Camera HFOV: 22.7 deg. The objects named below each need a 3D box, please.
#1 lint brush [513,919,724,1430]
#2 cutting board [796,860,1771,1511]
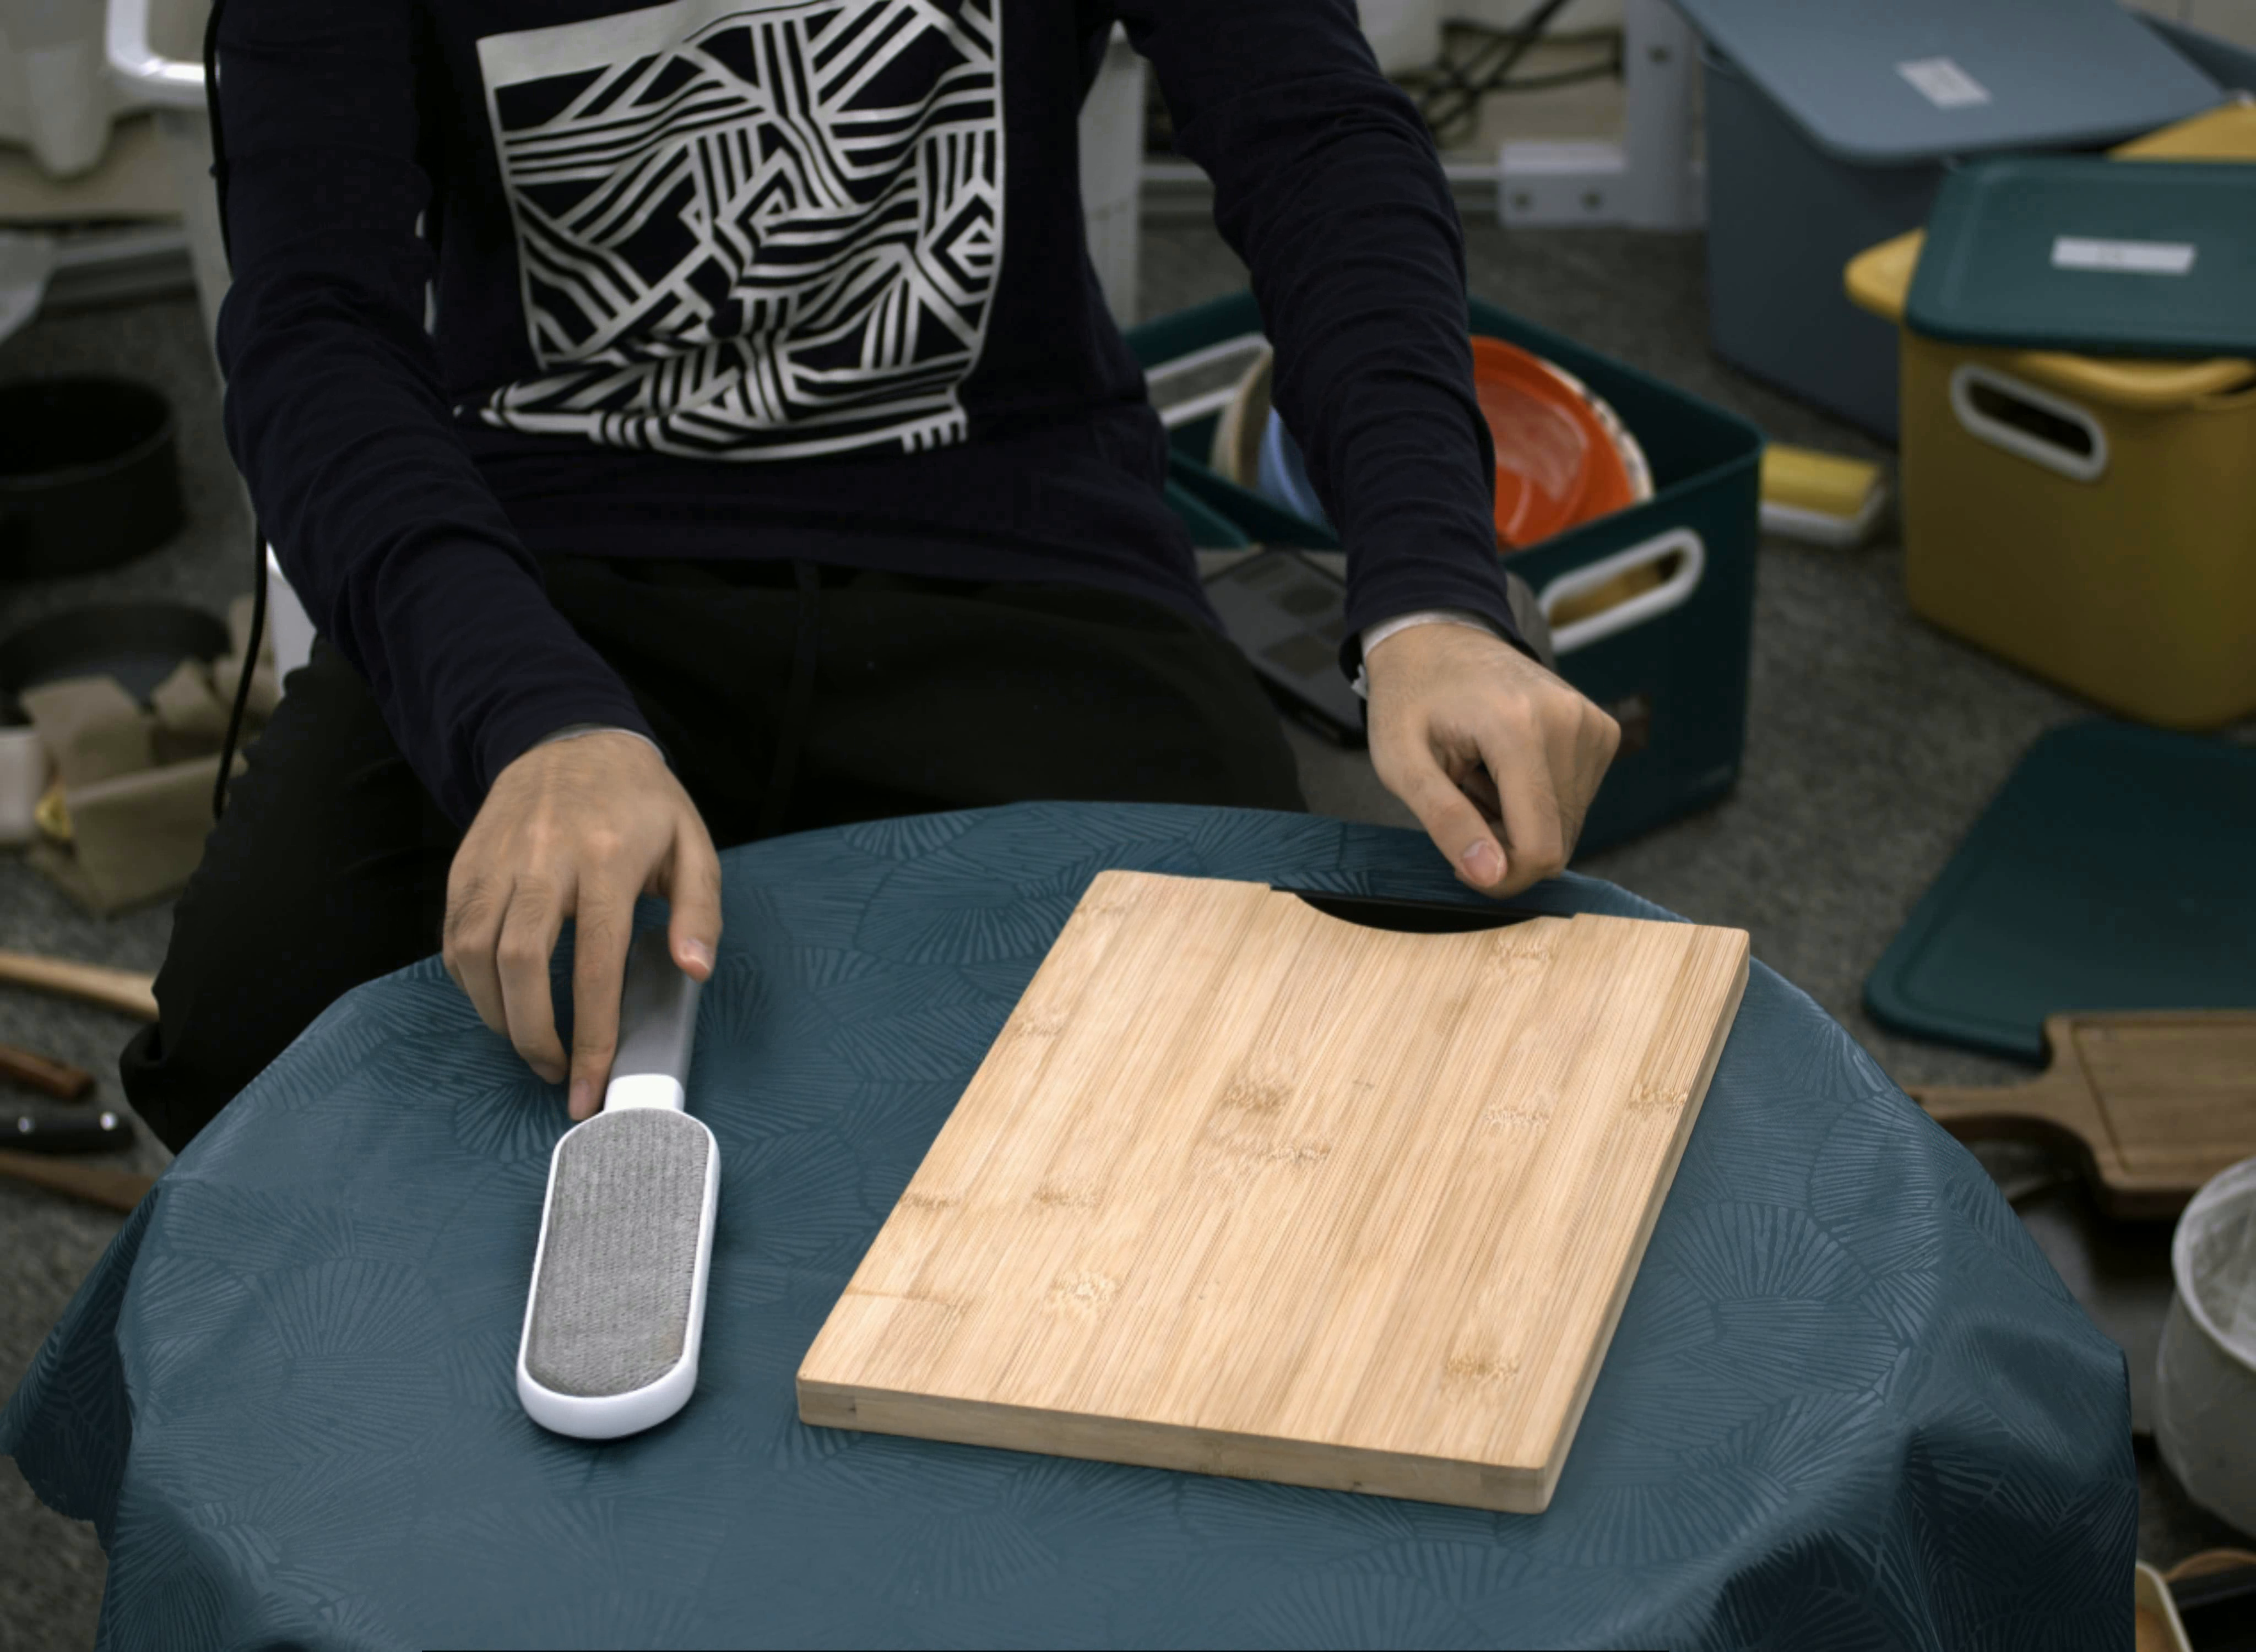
[{"bbox_3d":[-0.163,0.111,1.868,0.060,0.021,0.313,-7,27,3],"label":"lint brush"},{"bbox_3d":[0.060,0.110,1.862,0.249,0.023,0.354,5,28,14],"label":"cutting board"}]
